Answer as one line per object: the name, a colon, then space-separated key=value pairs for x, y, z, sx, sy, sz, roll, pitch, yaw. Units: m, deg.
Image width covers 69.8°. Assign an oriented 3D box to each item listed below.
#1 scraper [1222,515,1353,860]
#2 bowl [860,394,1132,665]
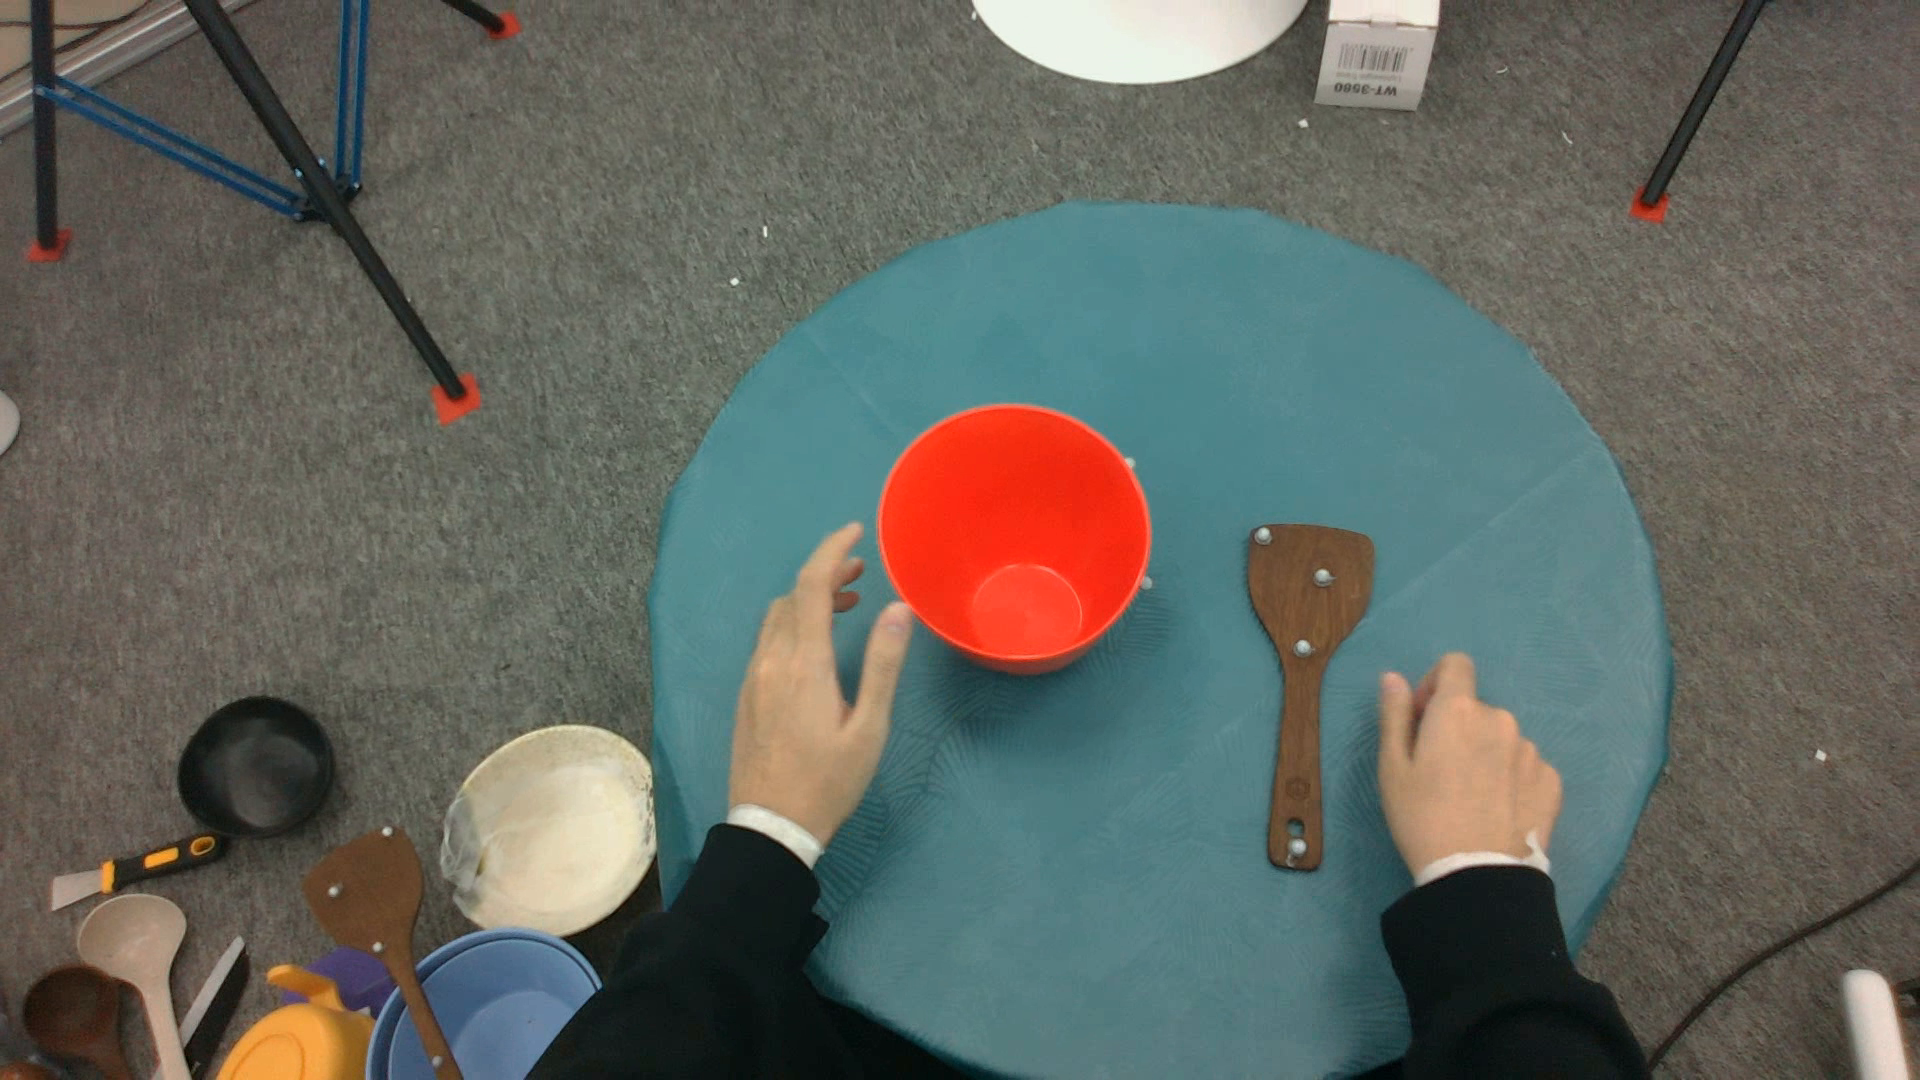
scraper: x=0.181 y=0.078 z=0.781 sx=0.076 sy=0.011 sz=0.212 roll=7 pitch=61 yaw=8
bowl: x=0.020 y=0.007 z=0.777 sx=0.148 sy=0.104 sz=0.148 roll=0 pitch=60 yaw=0
